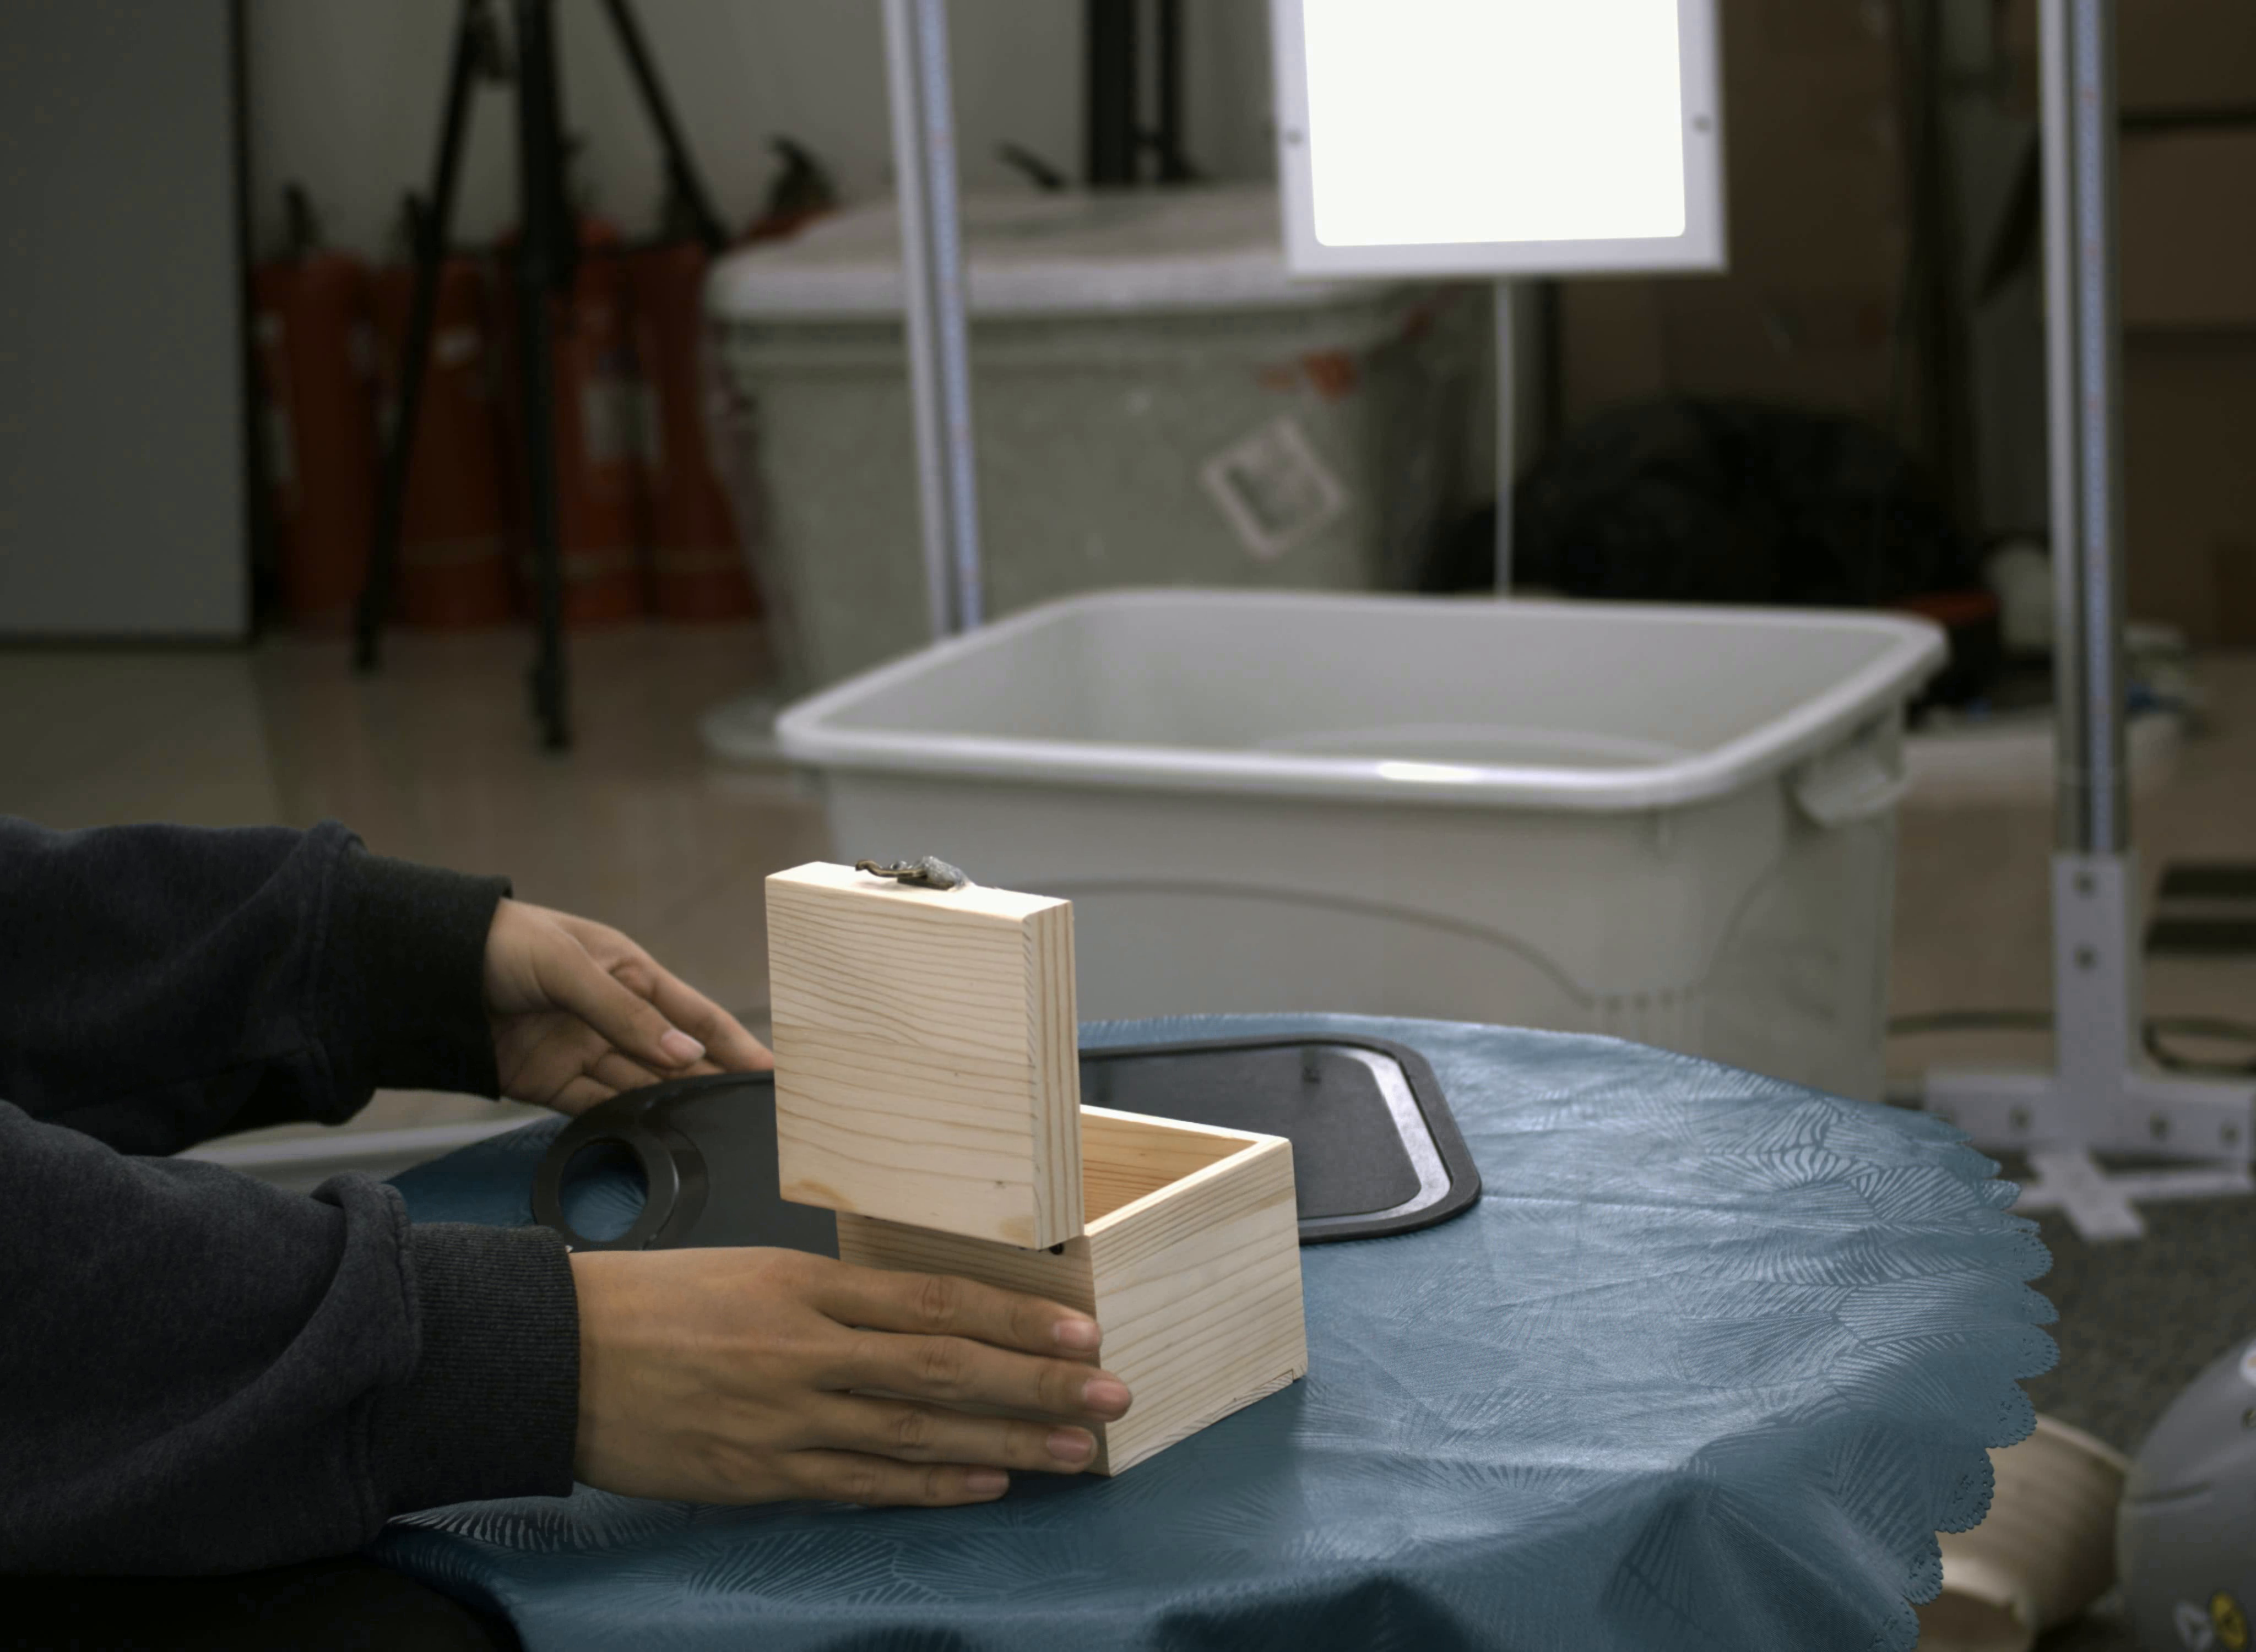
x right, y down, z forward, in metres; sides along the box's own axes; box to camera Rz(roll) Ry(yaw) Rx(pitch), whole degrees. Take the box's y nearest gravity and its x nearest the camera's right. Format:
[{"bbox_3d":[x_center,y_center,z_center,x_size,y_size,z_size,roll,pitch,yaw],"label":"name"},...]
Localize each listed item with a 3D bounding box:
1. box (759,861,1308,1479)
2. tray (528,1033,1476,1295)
[{"bbox_3d":[-0.026,0.091,1.665,0.105,0.185,0.130,7,19,38],"label":"box"},{"bbox_3d":[-0.047,0.115,1.919,0.324,0.010,0.211,-5,17,-2],"label":"tray"}]
